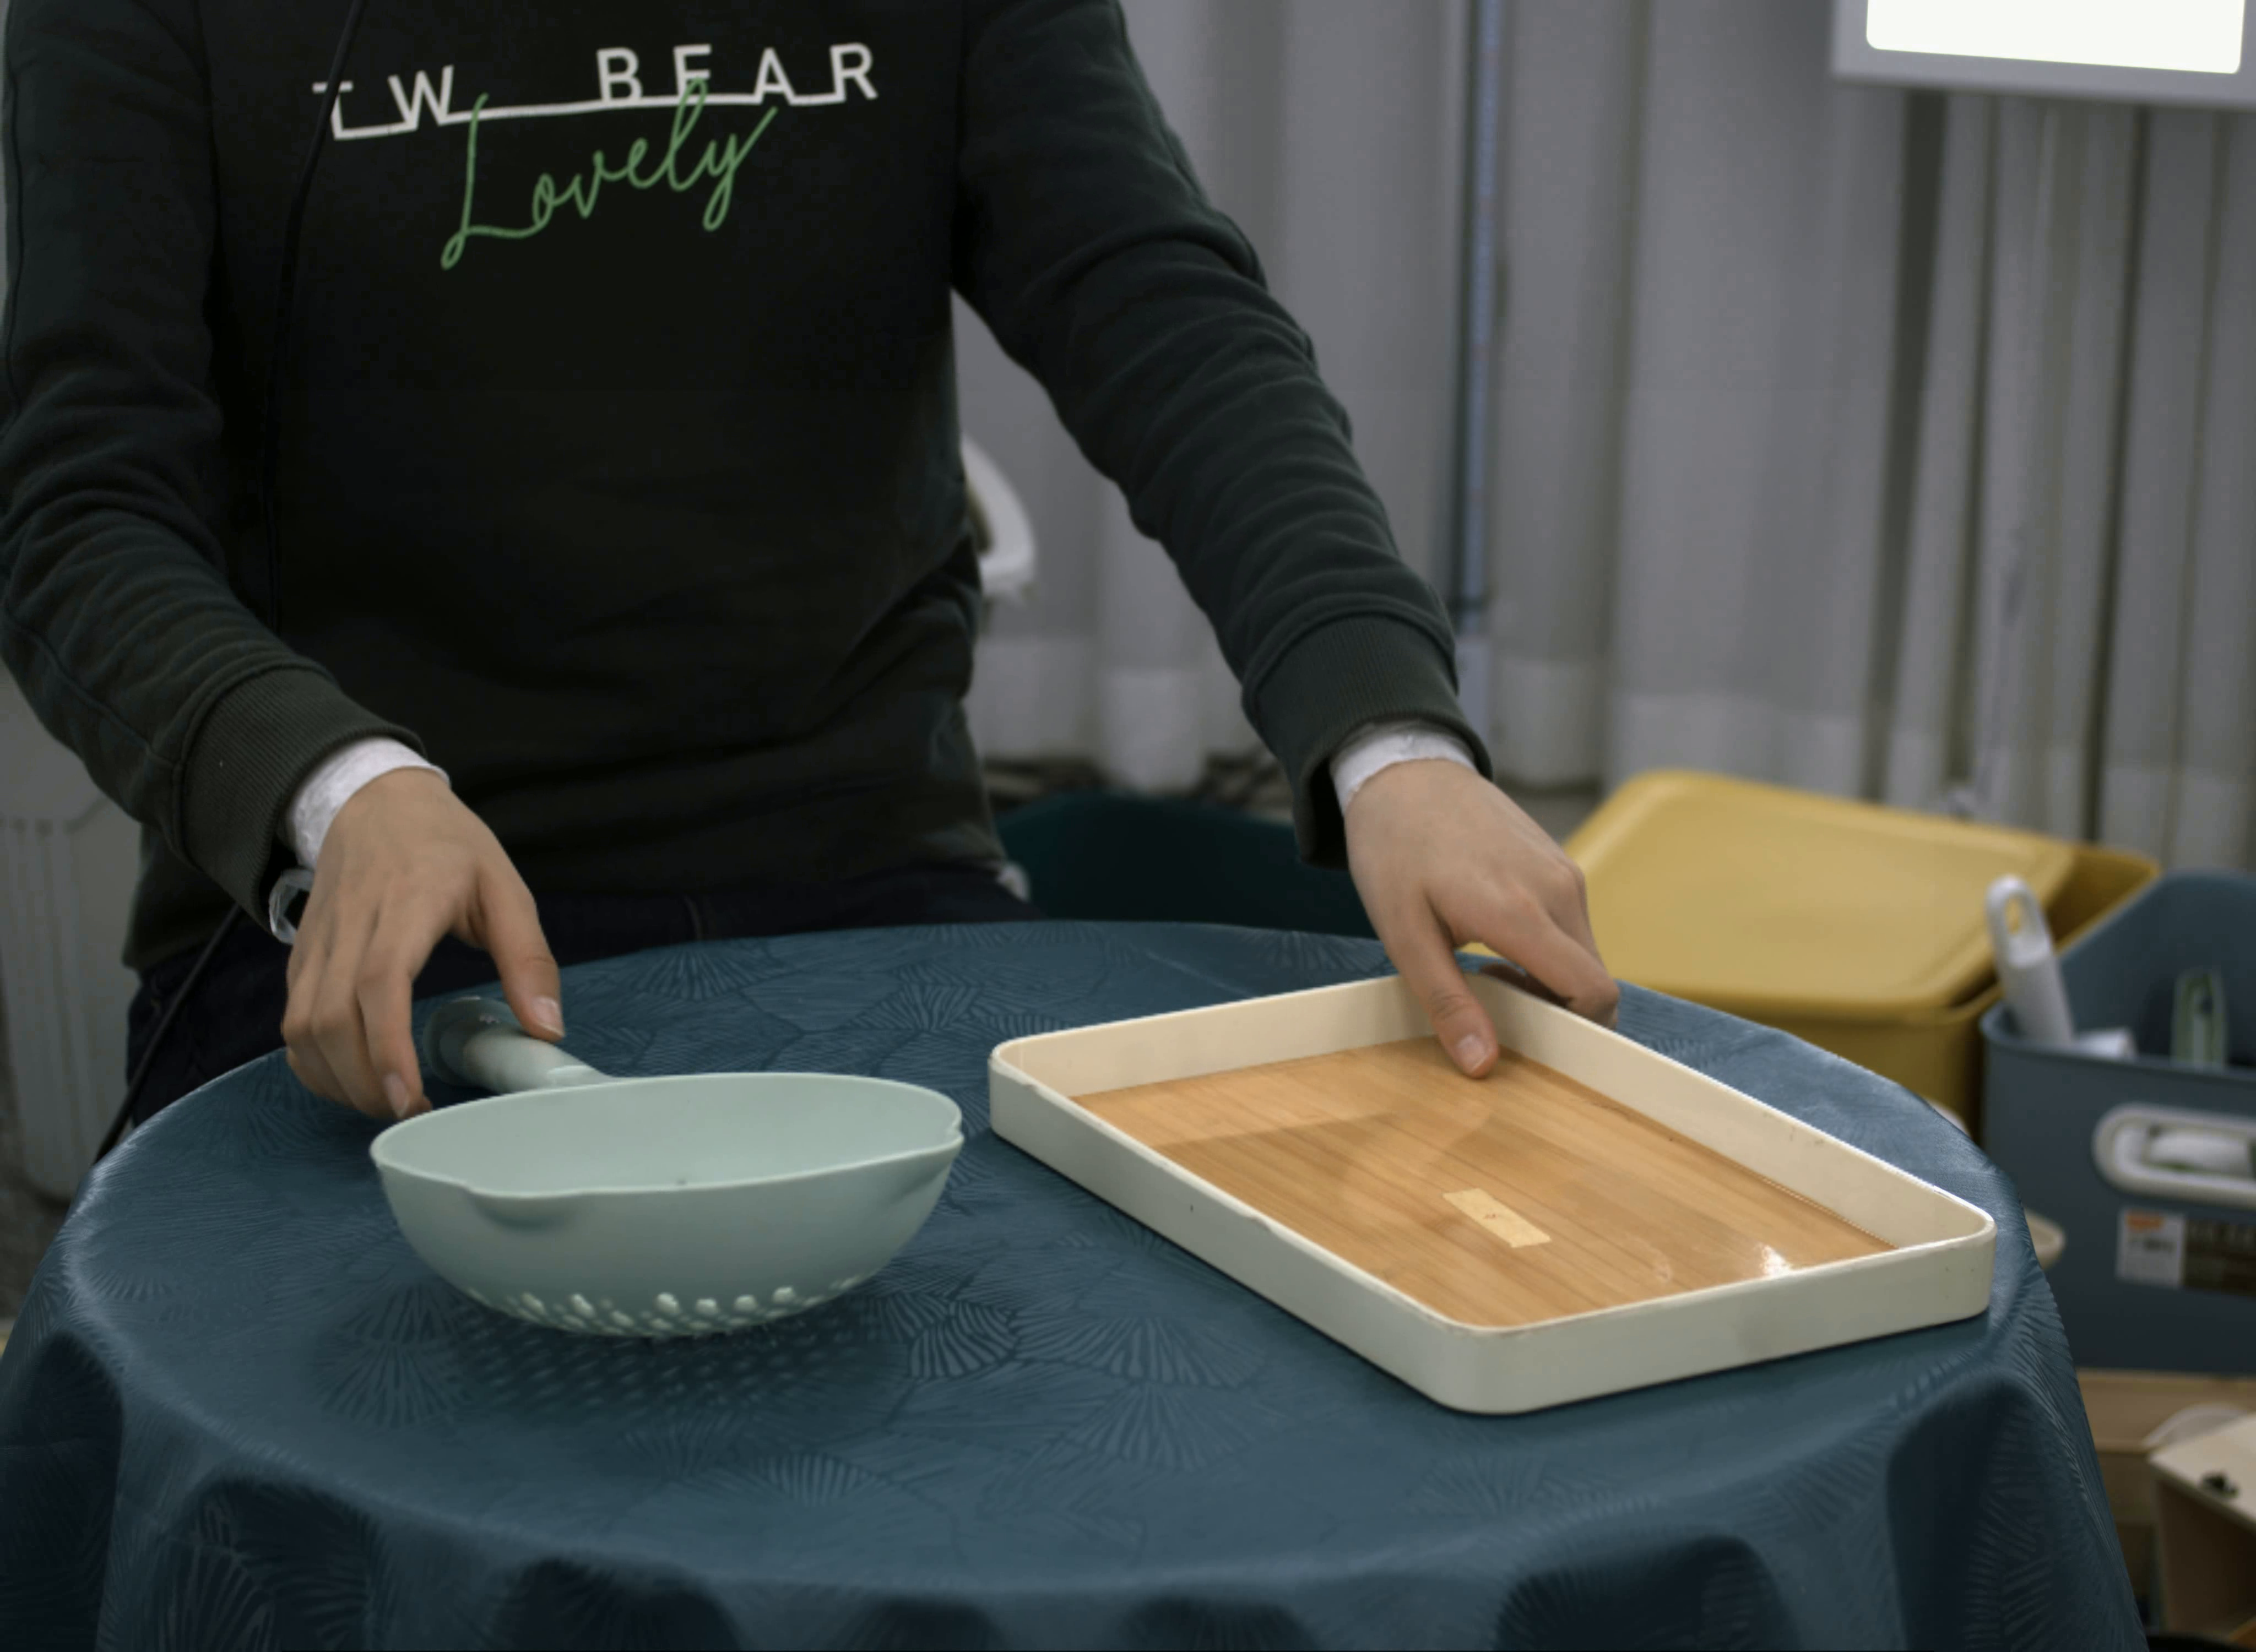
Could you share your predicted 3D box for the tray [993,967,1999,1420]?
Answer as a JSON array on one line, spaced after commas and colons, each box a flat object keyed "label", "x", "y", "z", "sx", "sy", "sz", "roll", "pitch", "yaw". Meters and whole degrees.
[{"label": "tray", "x": 0.105, "y": 0.106, "z": 1.606, "sx": 0.192, "sy": 0.027, "sz": 0.296, "roll": -8, "pitch": 18, "yaw": -28}]

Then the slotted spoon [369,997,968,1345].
[{"label": "slotted spoon", "x": -0.164, "y": 0.088, "z": 1.590, "sx": 0.170, "sy": 0.076, "sz": 0.355, "roll": -5, "pitch": 17, "yaw": -20}]
